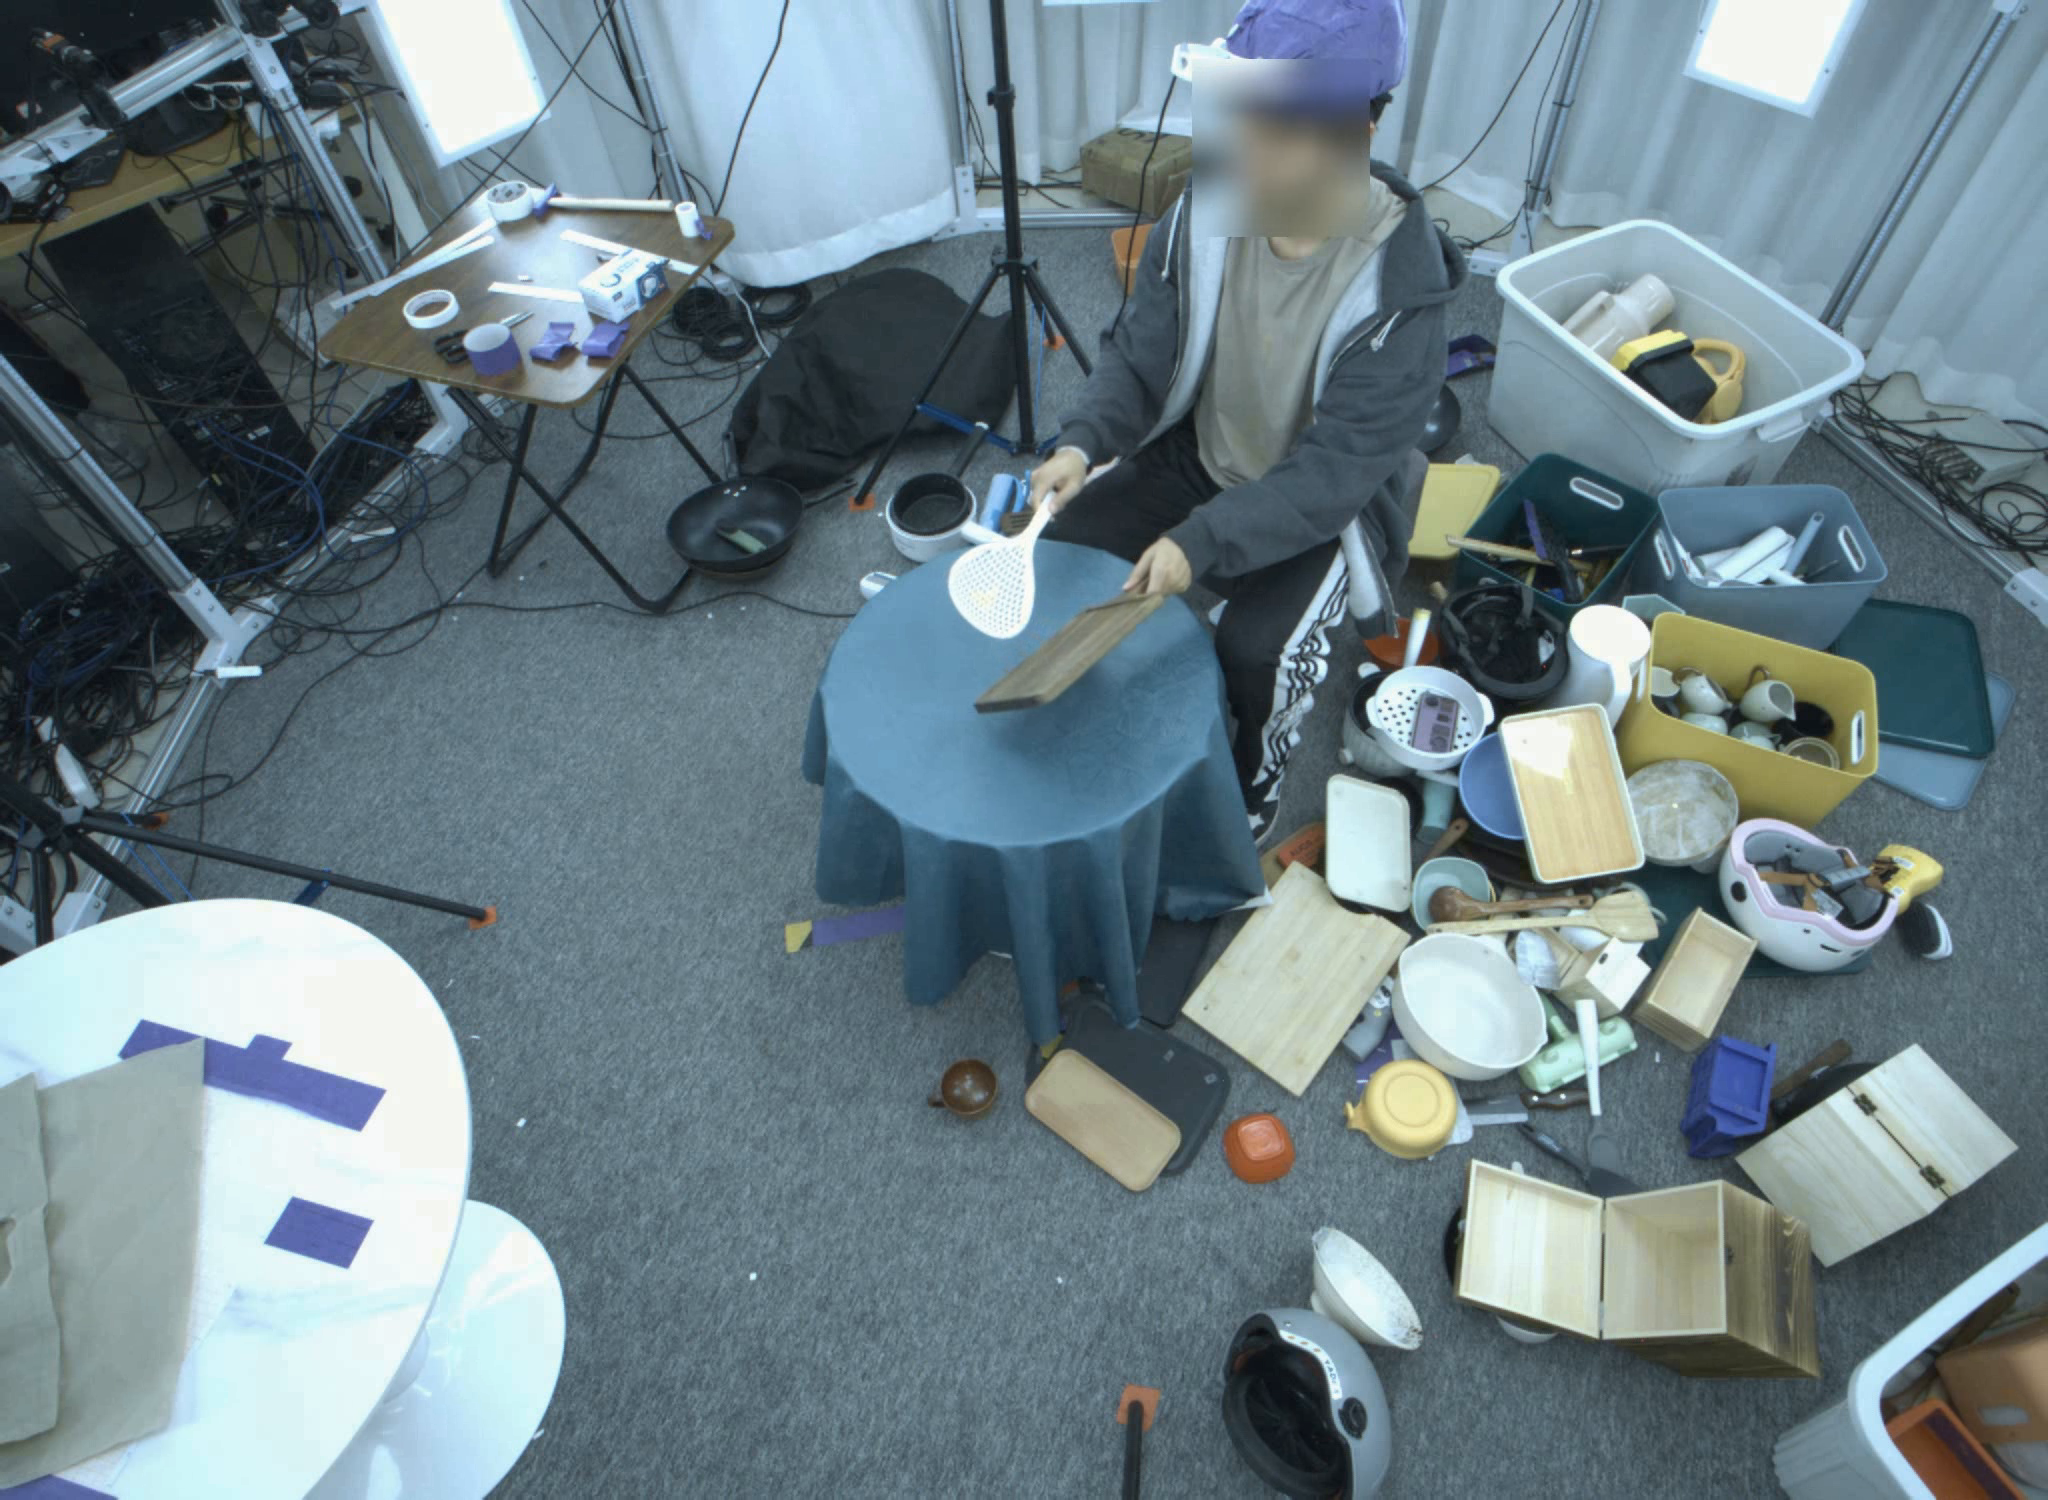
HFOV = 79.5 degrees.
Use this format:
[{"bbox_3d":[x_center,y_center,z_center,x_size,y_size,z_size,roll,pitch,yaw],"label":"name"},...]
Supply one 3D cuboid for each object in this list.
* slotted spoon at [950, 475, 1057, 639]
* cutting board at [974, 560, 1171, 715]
[{"bbox_3d":[-0.009,-0.301,1.824,0.138,0.049,0.348,38,58,-16],"label":"slotted spoon"},{"bbox_3d":[0.095,-0.167,1.754,0.354,0.023,0.197,-43,20,-25],"label":"cutting board"}]
